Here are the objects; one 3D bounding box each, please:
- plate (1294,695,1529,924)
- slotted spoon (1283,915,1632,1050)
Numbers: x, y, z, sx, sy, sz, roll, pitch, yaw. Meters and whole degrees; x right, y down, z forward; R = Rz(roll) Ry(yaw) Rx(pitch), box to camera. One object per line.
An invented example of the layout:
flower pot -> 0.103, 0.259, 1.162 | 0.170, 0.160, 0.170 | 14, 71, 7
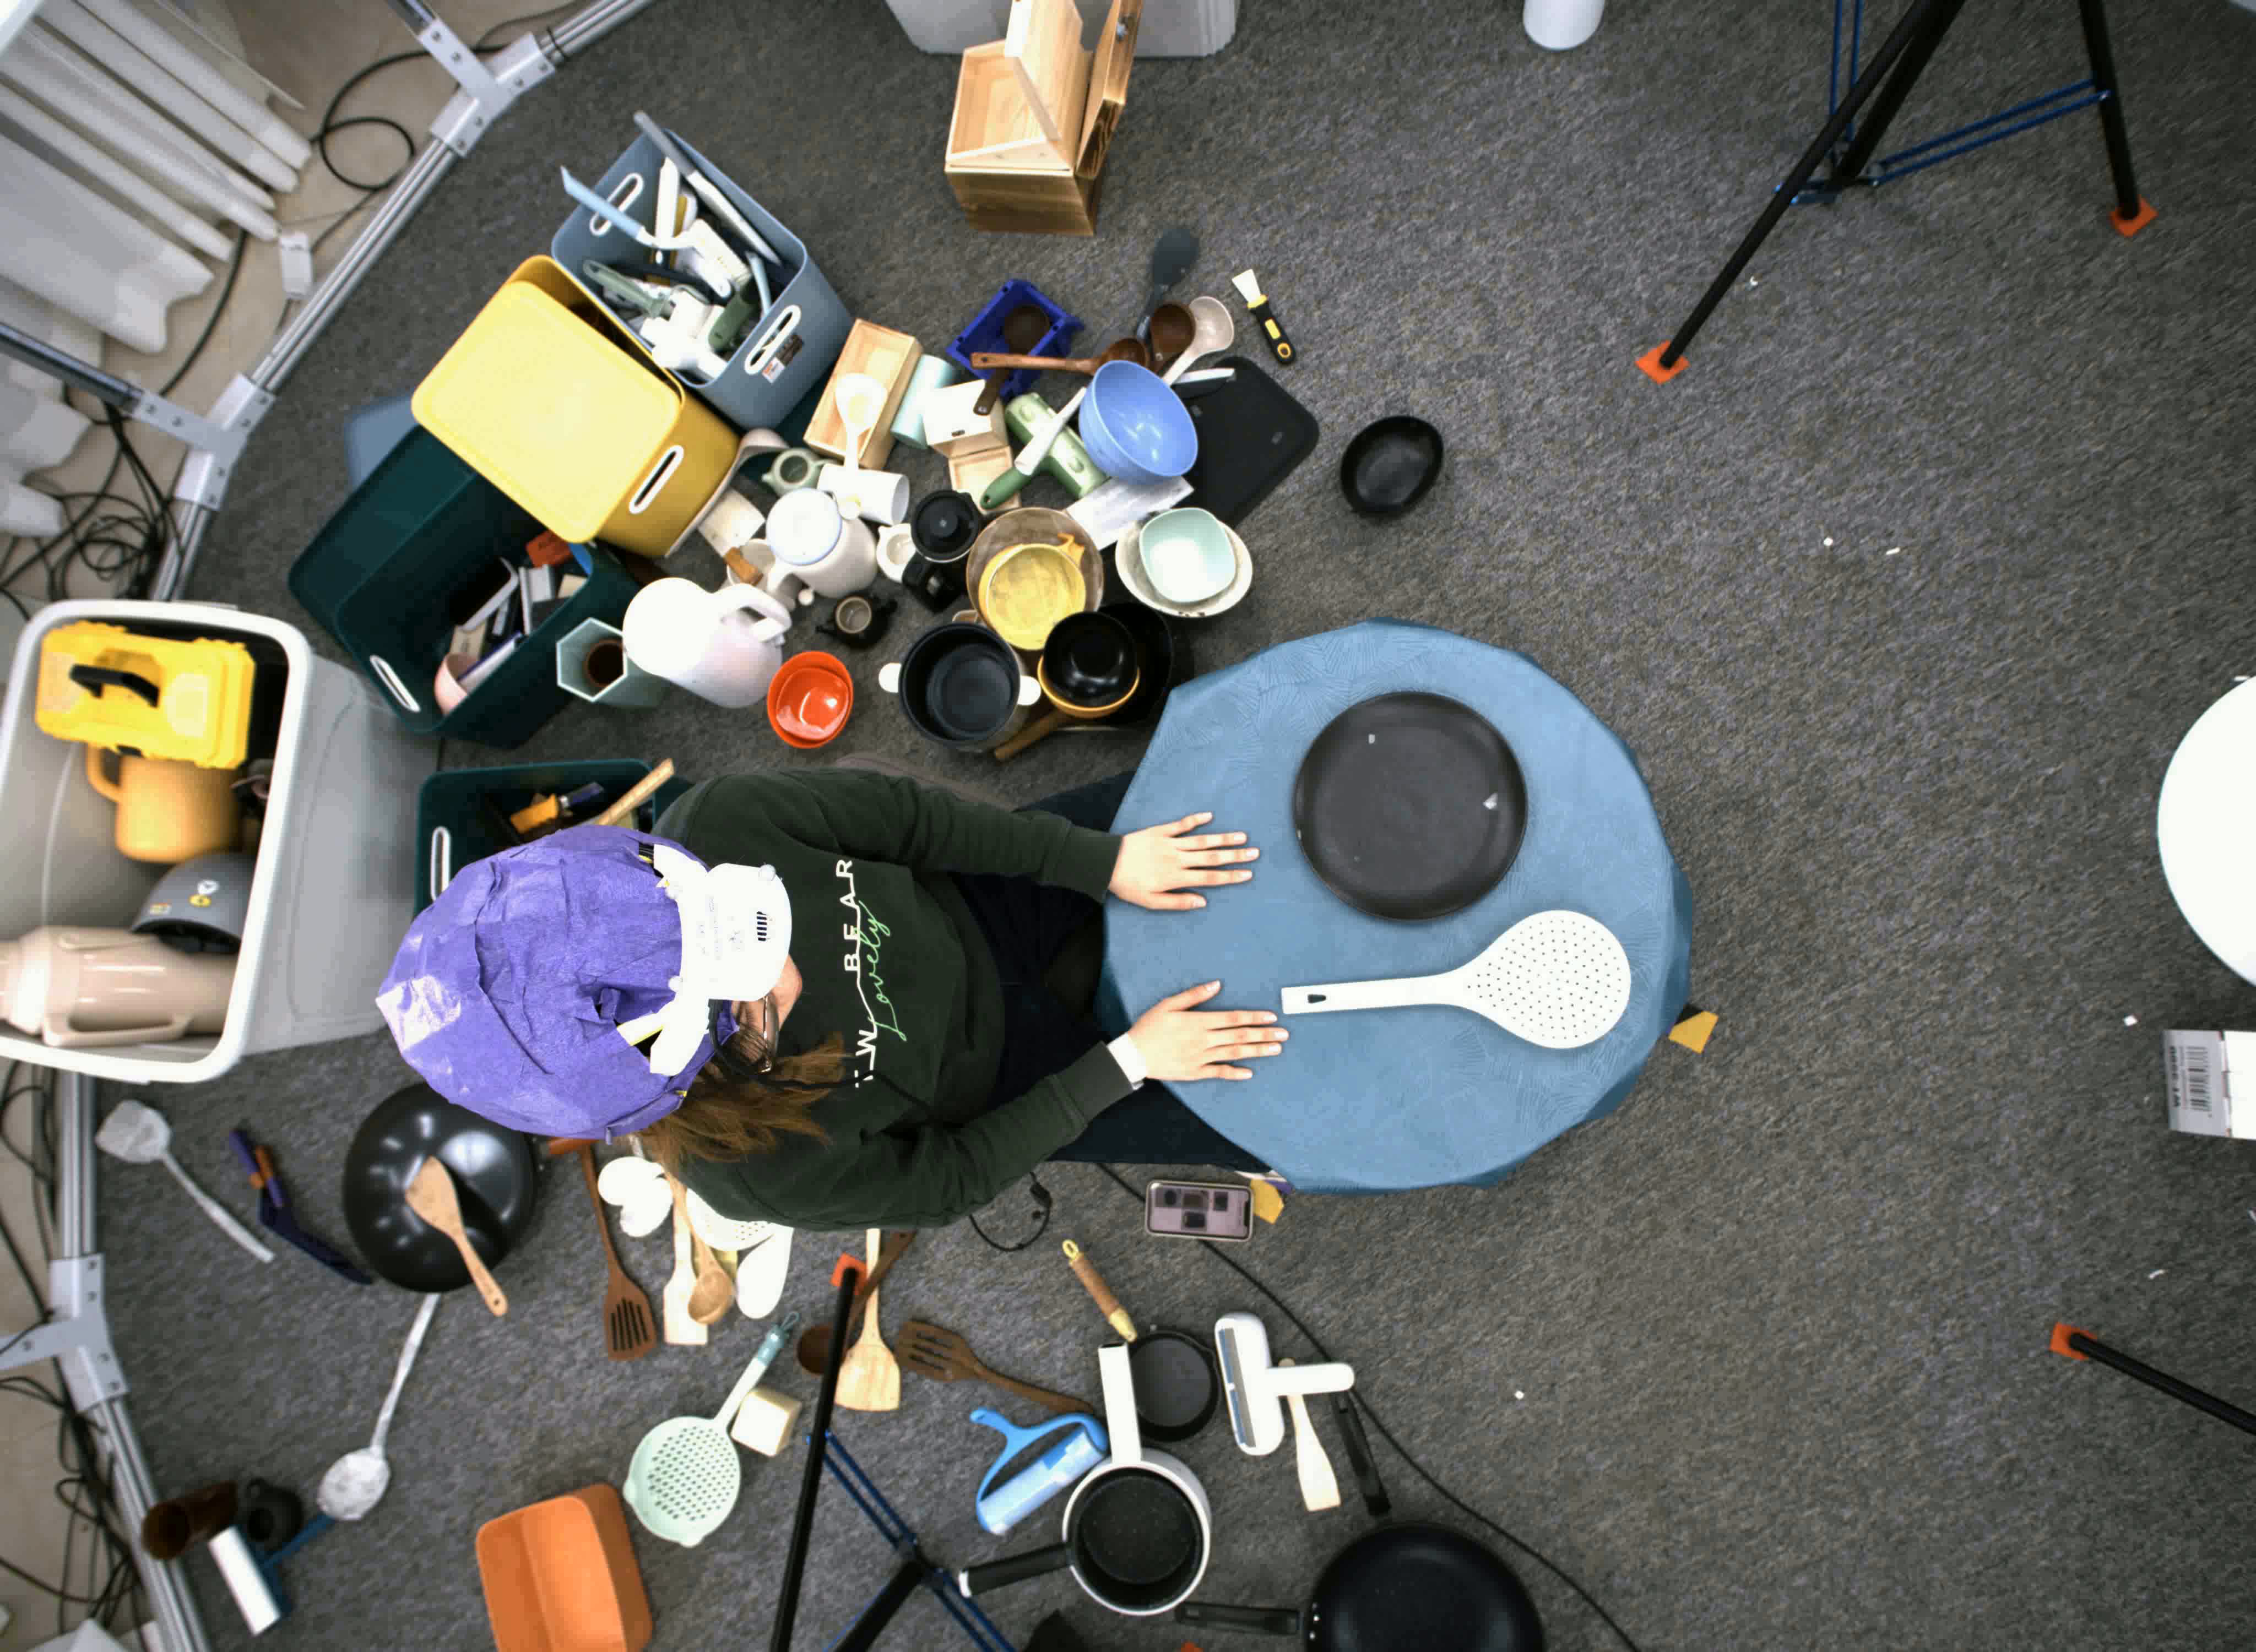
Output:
plate -> 0.298, -0.019, 1.454 | 0.245, 0.023, 0.243 | -1, 86, 10
slotted spoon -> 0.335, 0.168, 1.423 | 0.351, 0.046, 0.135 | -6, 83, 11
